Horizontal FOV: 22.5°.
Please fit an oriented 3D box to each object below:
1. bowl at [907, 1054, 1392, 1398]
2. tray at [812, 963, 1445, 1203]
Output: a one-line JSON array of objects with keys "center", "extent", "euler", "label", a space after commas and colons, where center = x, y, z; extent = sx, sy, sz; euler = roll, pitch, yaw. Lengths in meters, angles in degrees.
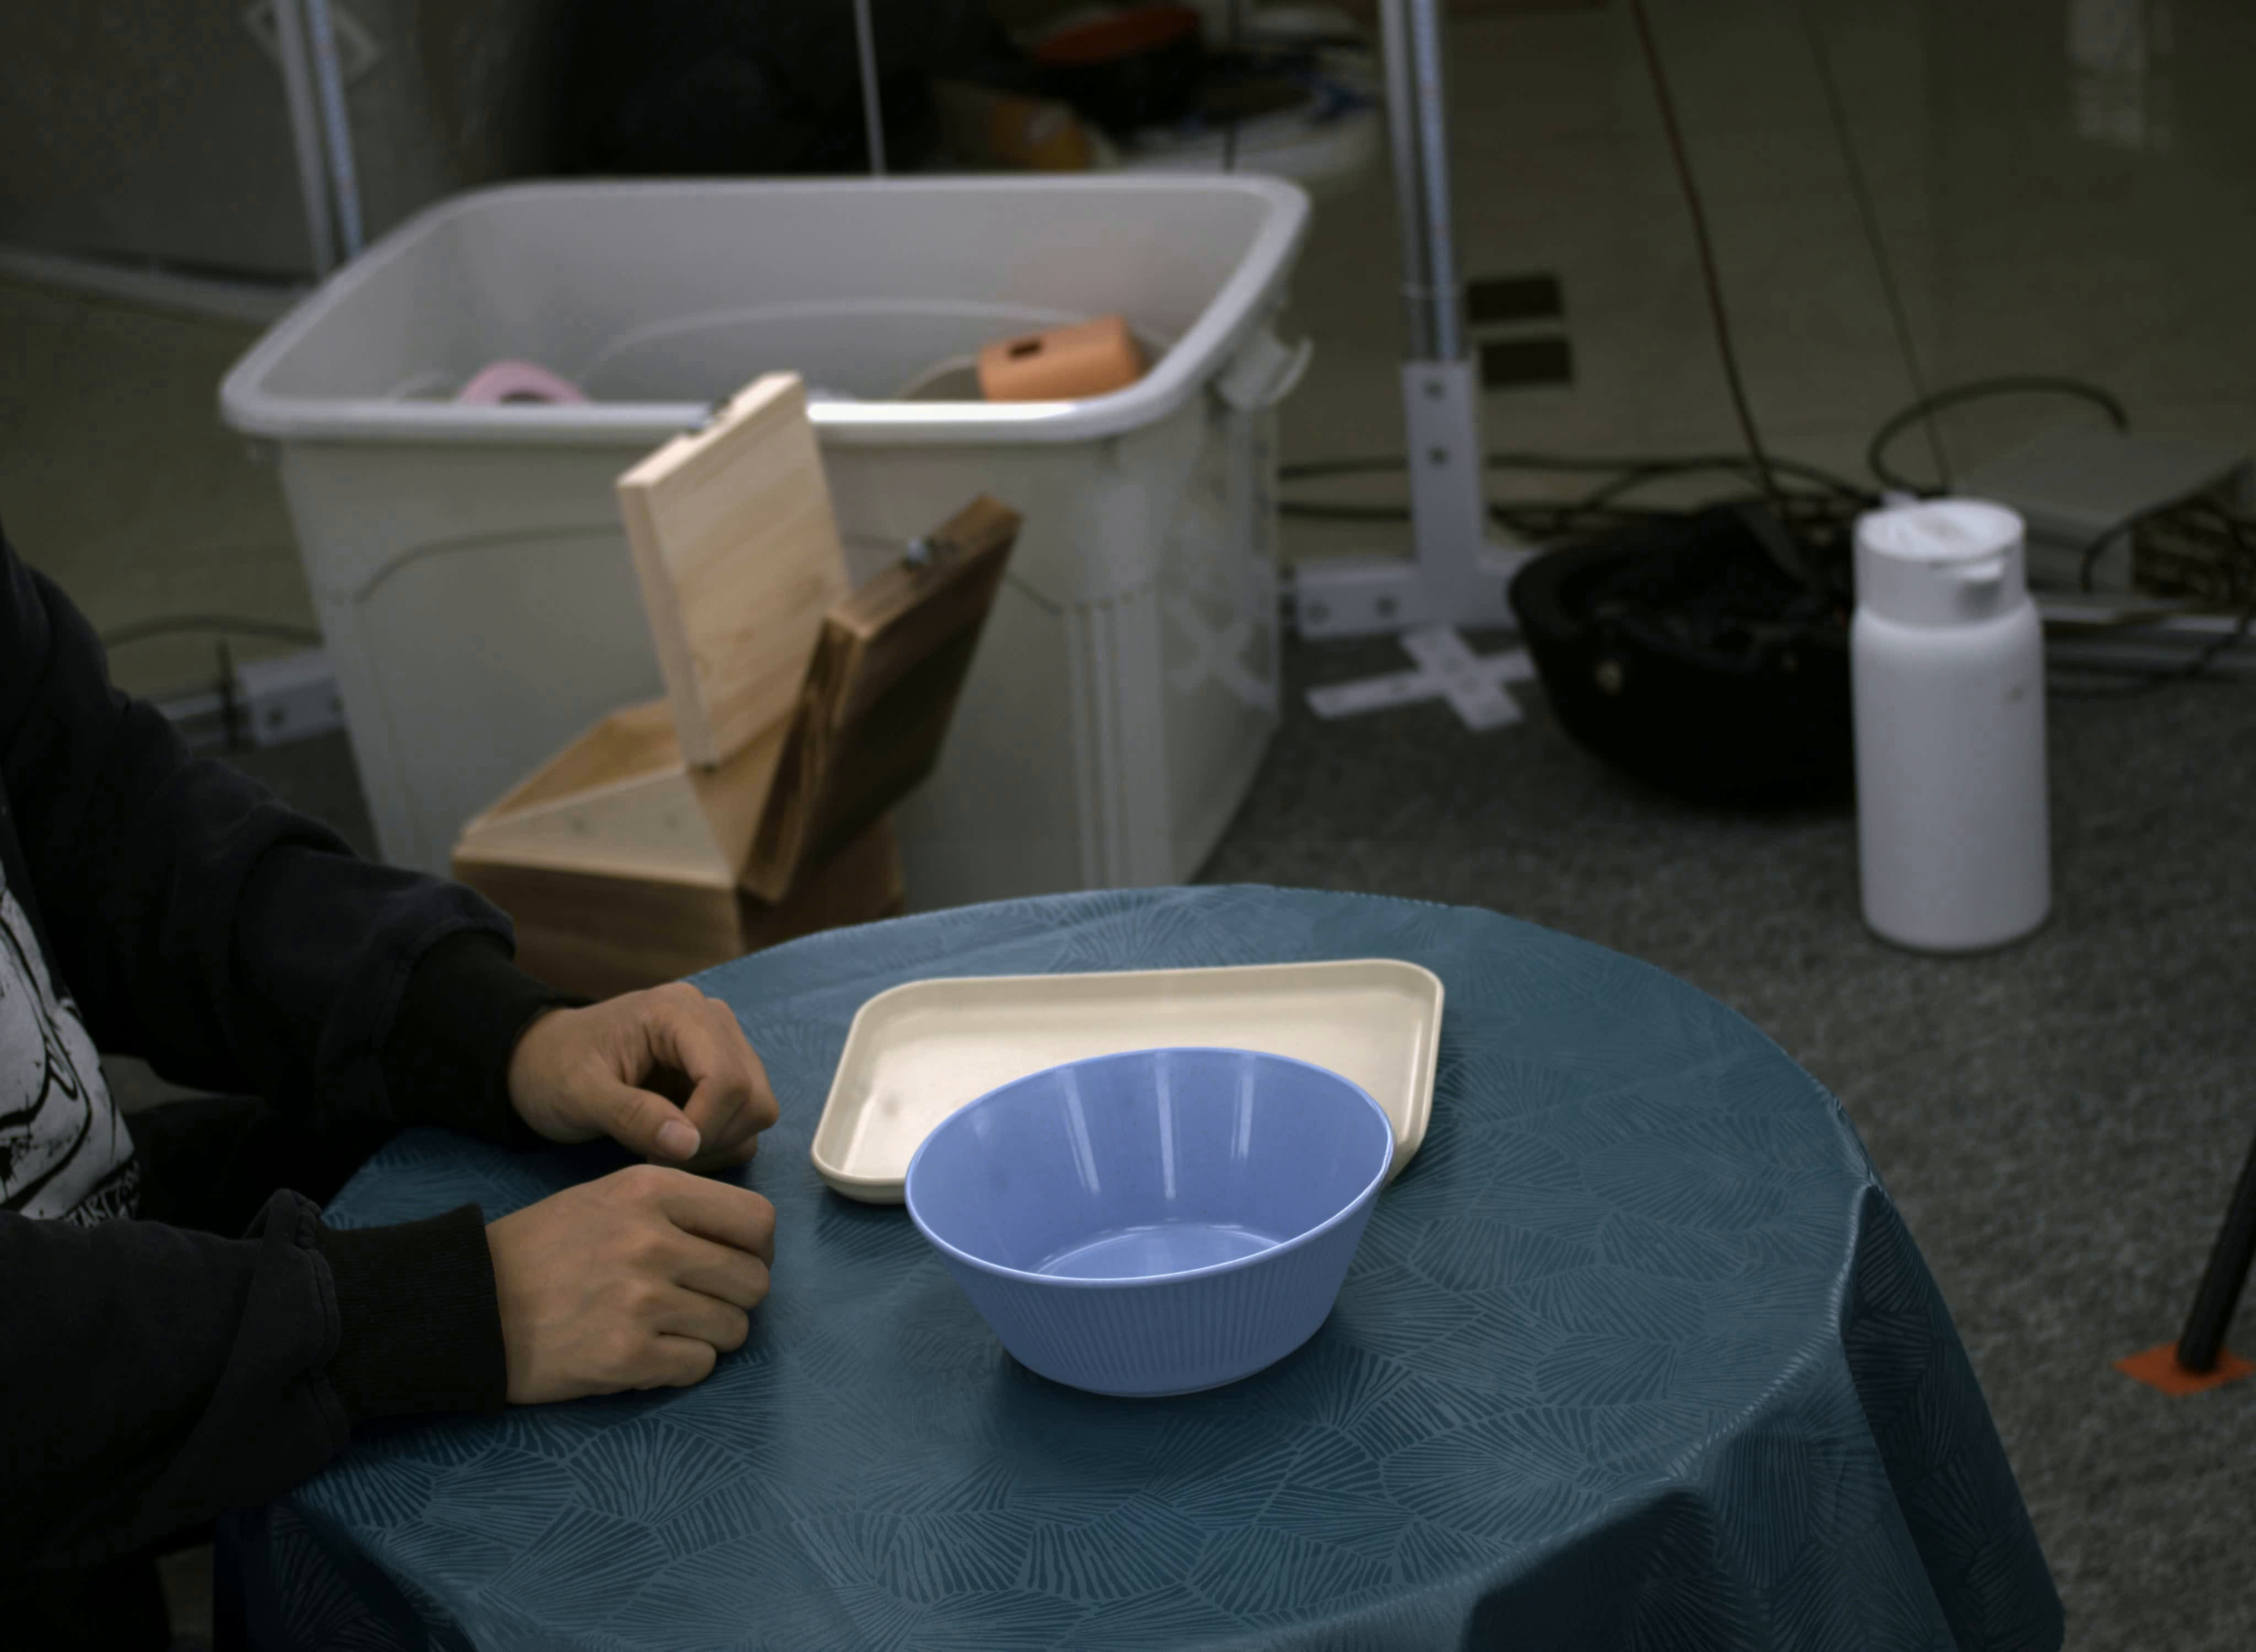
[{"center": [0.011, 0.150, 2.043], "extent": [0.176, 0.071, 0.173], "euler": [-5, 24, 3], "label": "bowl"}, {"center": [0.003, 0.101, 2.212], "extent": [0.239, 0.018, 0.169], "euler": [-3, 24, 8], "label": "tray"}]
